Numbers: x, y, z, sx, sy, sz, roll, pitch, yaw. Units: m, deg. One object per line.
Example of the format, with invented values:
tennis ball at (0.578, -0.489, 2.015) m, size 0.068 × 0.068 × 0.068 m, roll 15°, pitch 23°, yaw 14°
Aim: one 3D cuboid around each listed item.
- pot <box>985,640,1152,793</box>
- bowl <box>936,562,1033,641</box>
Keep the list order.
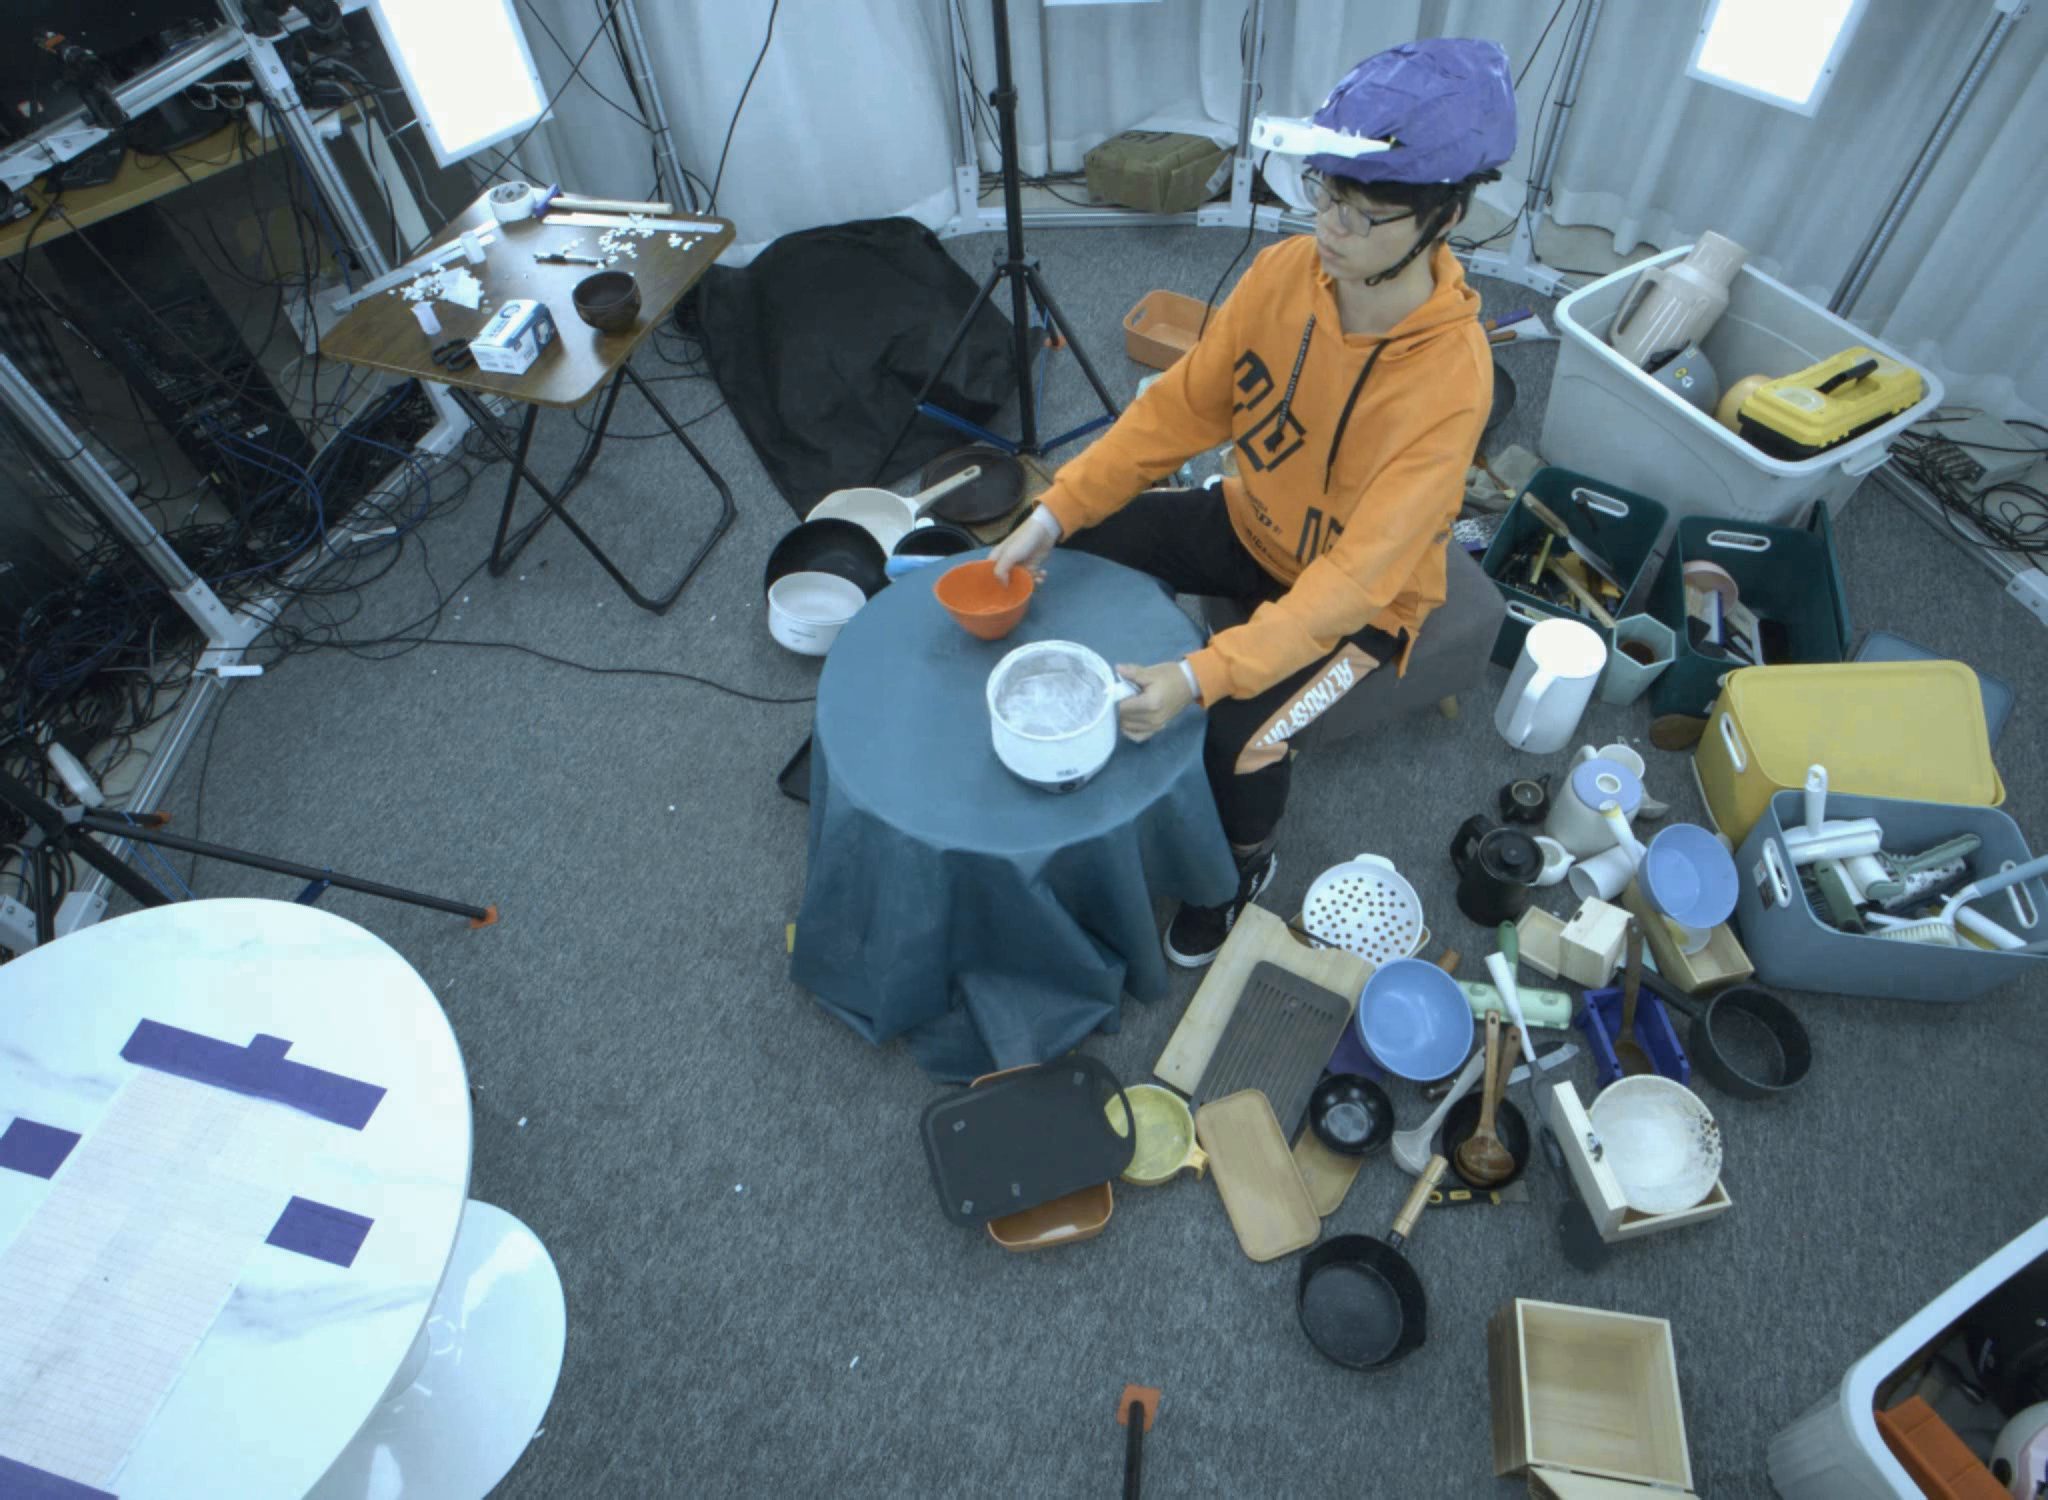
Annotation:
pot at (0.067, -0.052, 1.737) m, size 0.235 × 0.138 × 0.176 m, roll -13°, pitch 56°, yaw -6°
bowl at (-0.057, -0.219, 1.882) m, size 0.148 × 0.106 × 0.146 m, roll -1°, pitch 49°, yaw 3°
